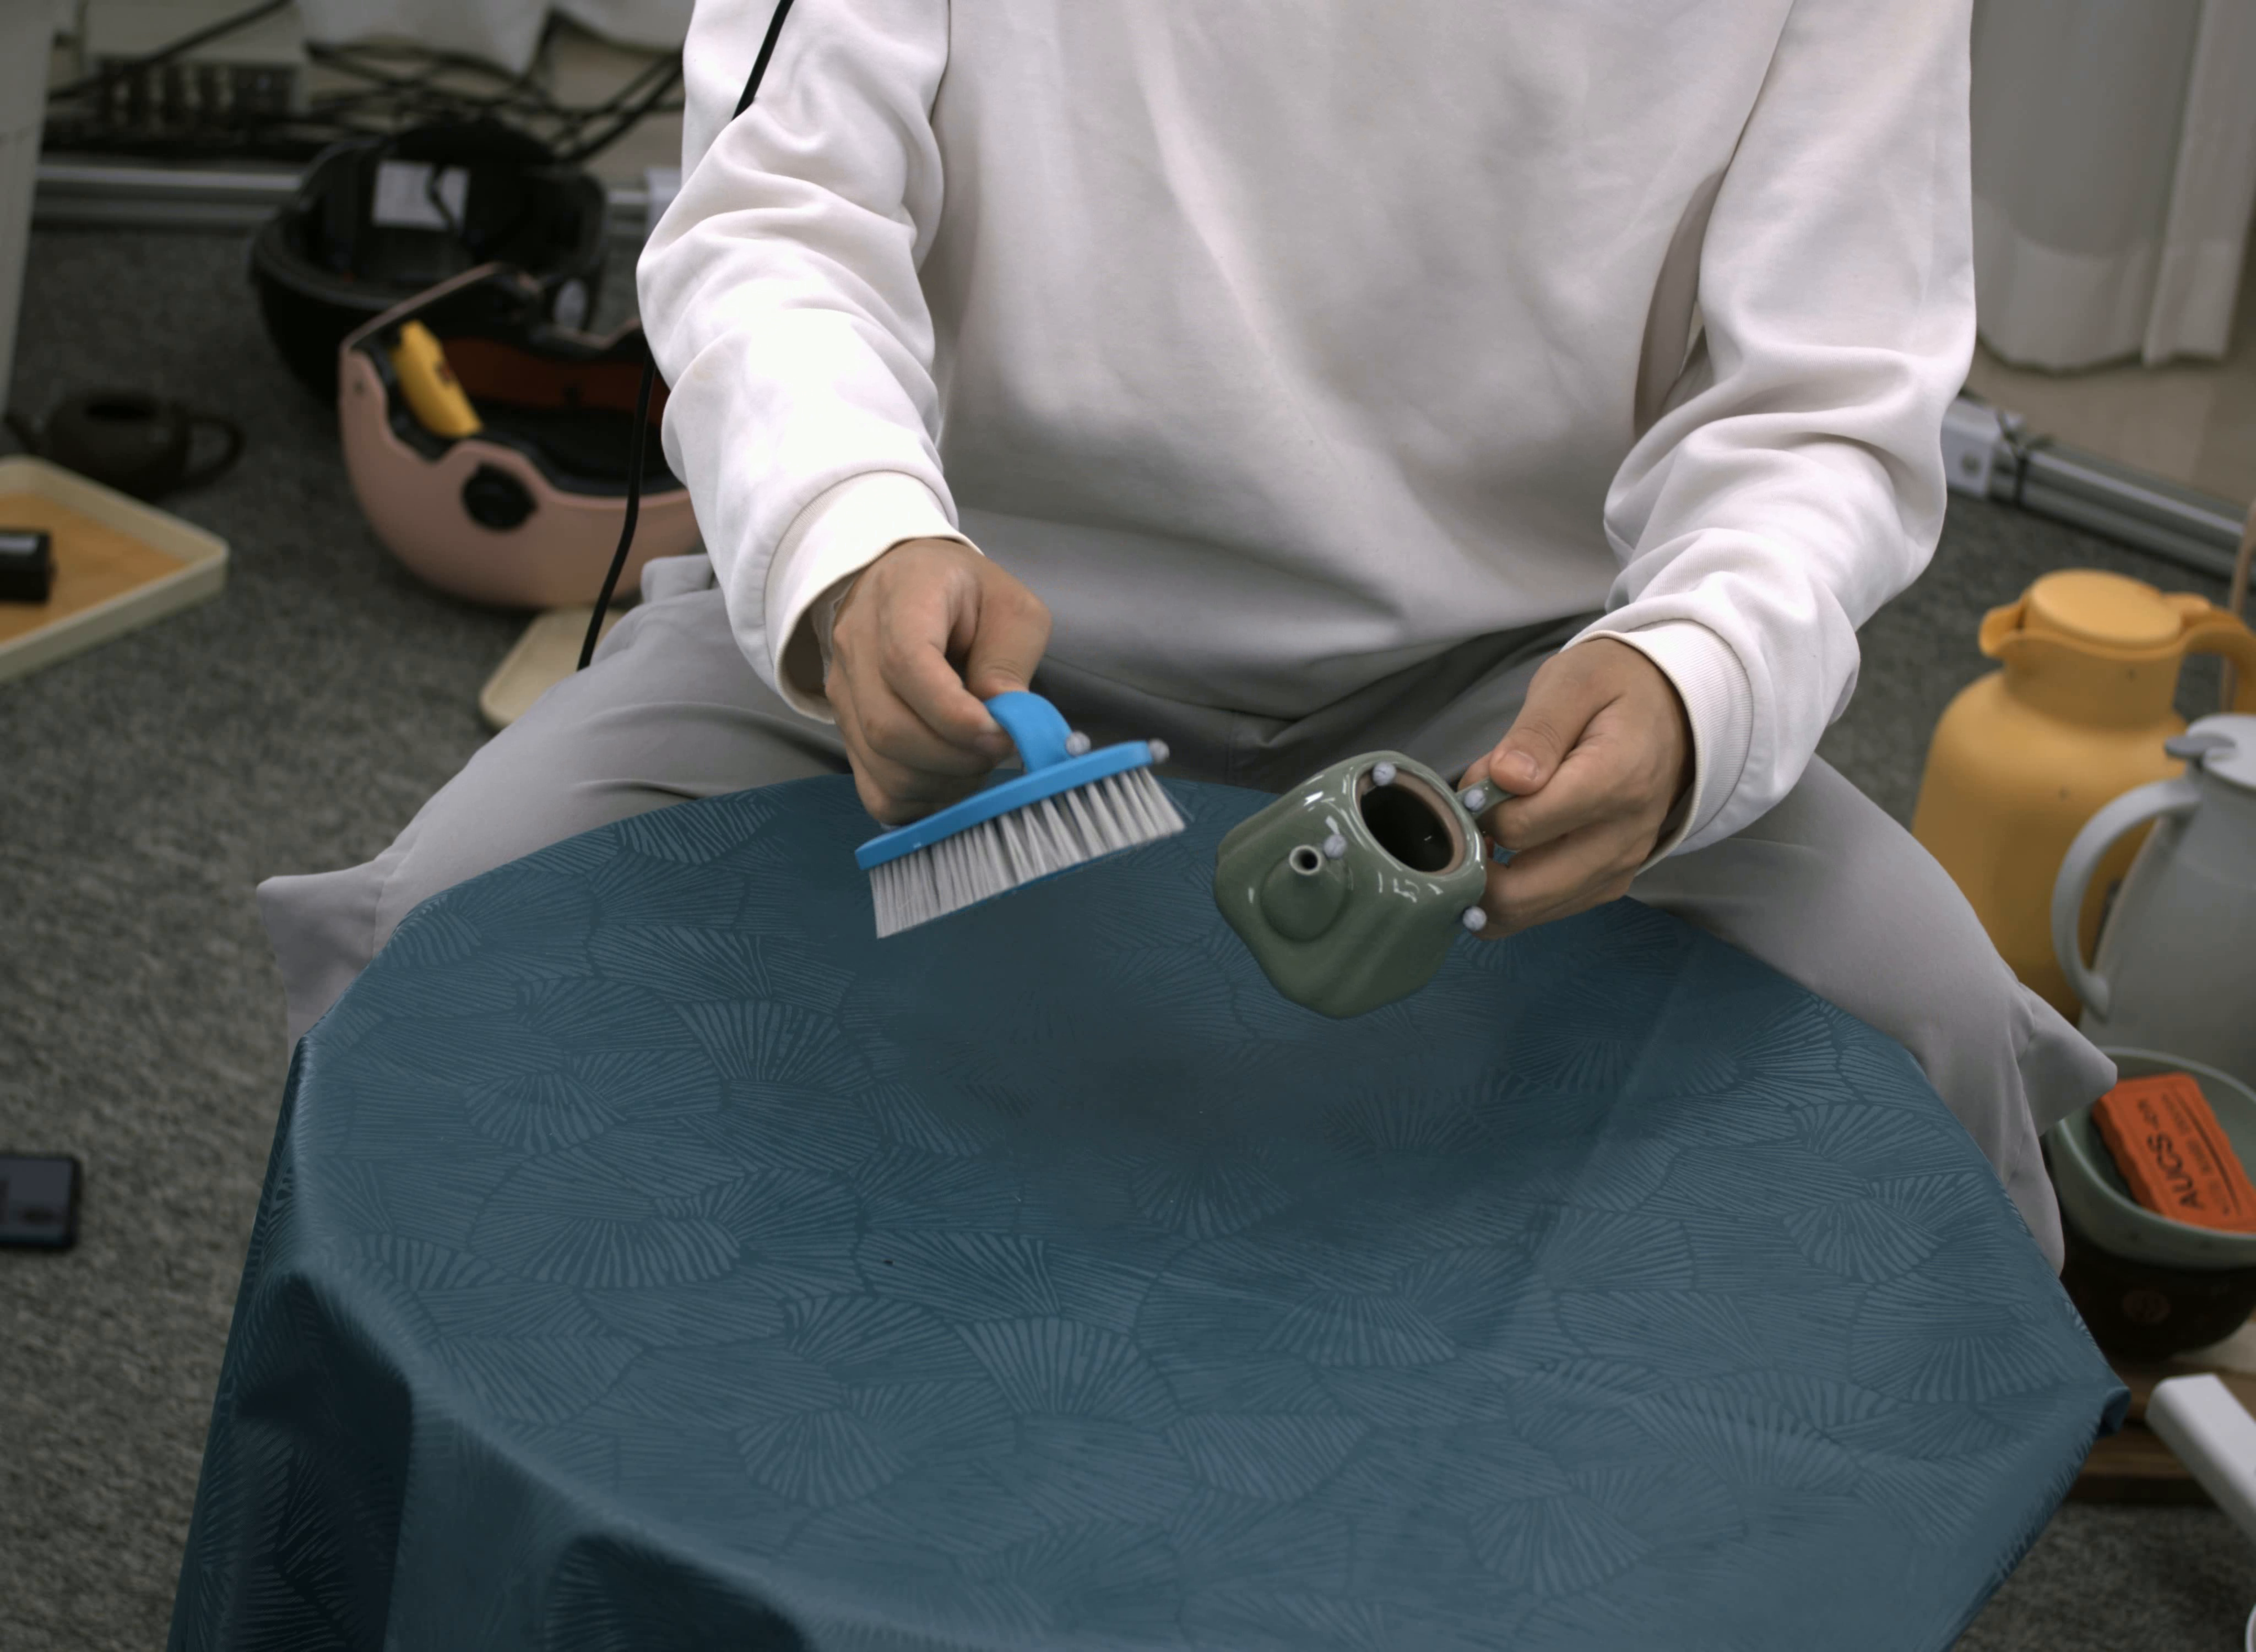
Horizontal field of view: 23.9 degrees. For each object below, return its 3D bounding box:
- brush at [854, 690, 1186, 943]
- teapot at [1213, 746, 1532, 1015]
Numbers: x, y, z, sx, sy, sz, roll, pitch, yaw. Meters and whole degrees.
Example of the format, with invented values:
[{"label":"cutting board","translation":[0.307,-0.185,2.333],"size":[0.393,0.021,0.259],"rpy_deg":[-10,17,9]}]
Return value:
[{"label":"brush","translation":[-0.044,-0.009,1.801],"size":[0.084,0.064,0.142],"rpy_deg":[-23,0,-31]},{"label":"teapot","translation":[0.080,0.016,1.821],"size":[0.132,0.075,0.080],"rpy_deg":[-17,67,-47]}]
